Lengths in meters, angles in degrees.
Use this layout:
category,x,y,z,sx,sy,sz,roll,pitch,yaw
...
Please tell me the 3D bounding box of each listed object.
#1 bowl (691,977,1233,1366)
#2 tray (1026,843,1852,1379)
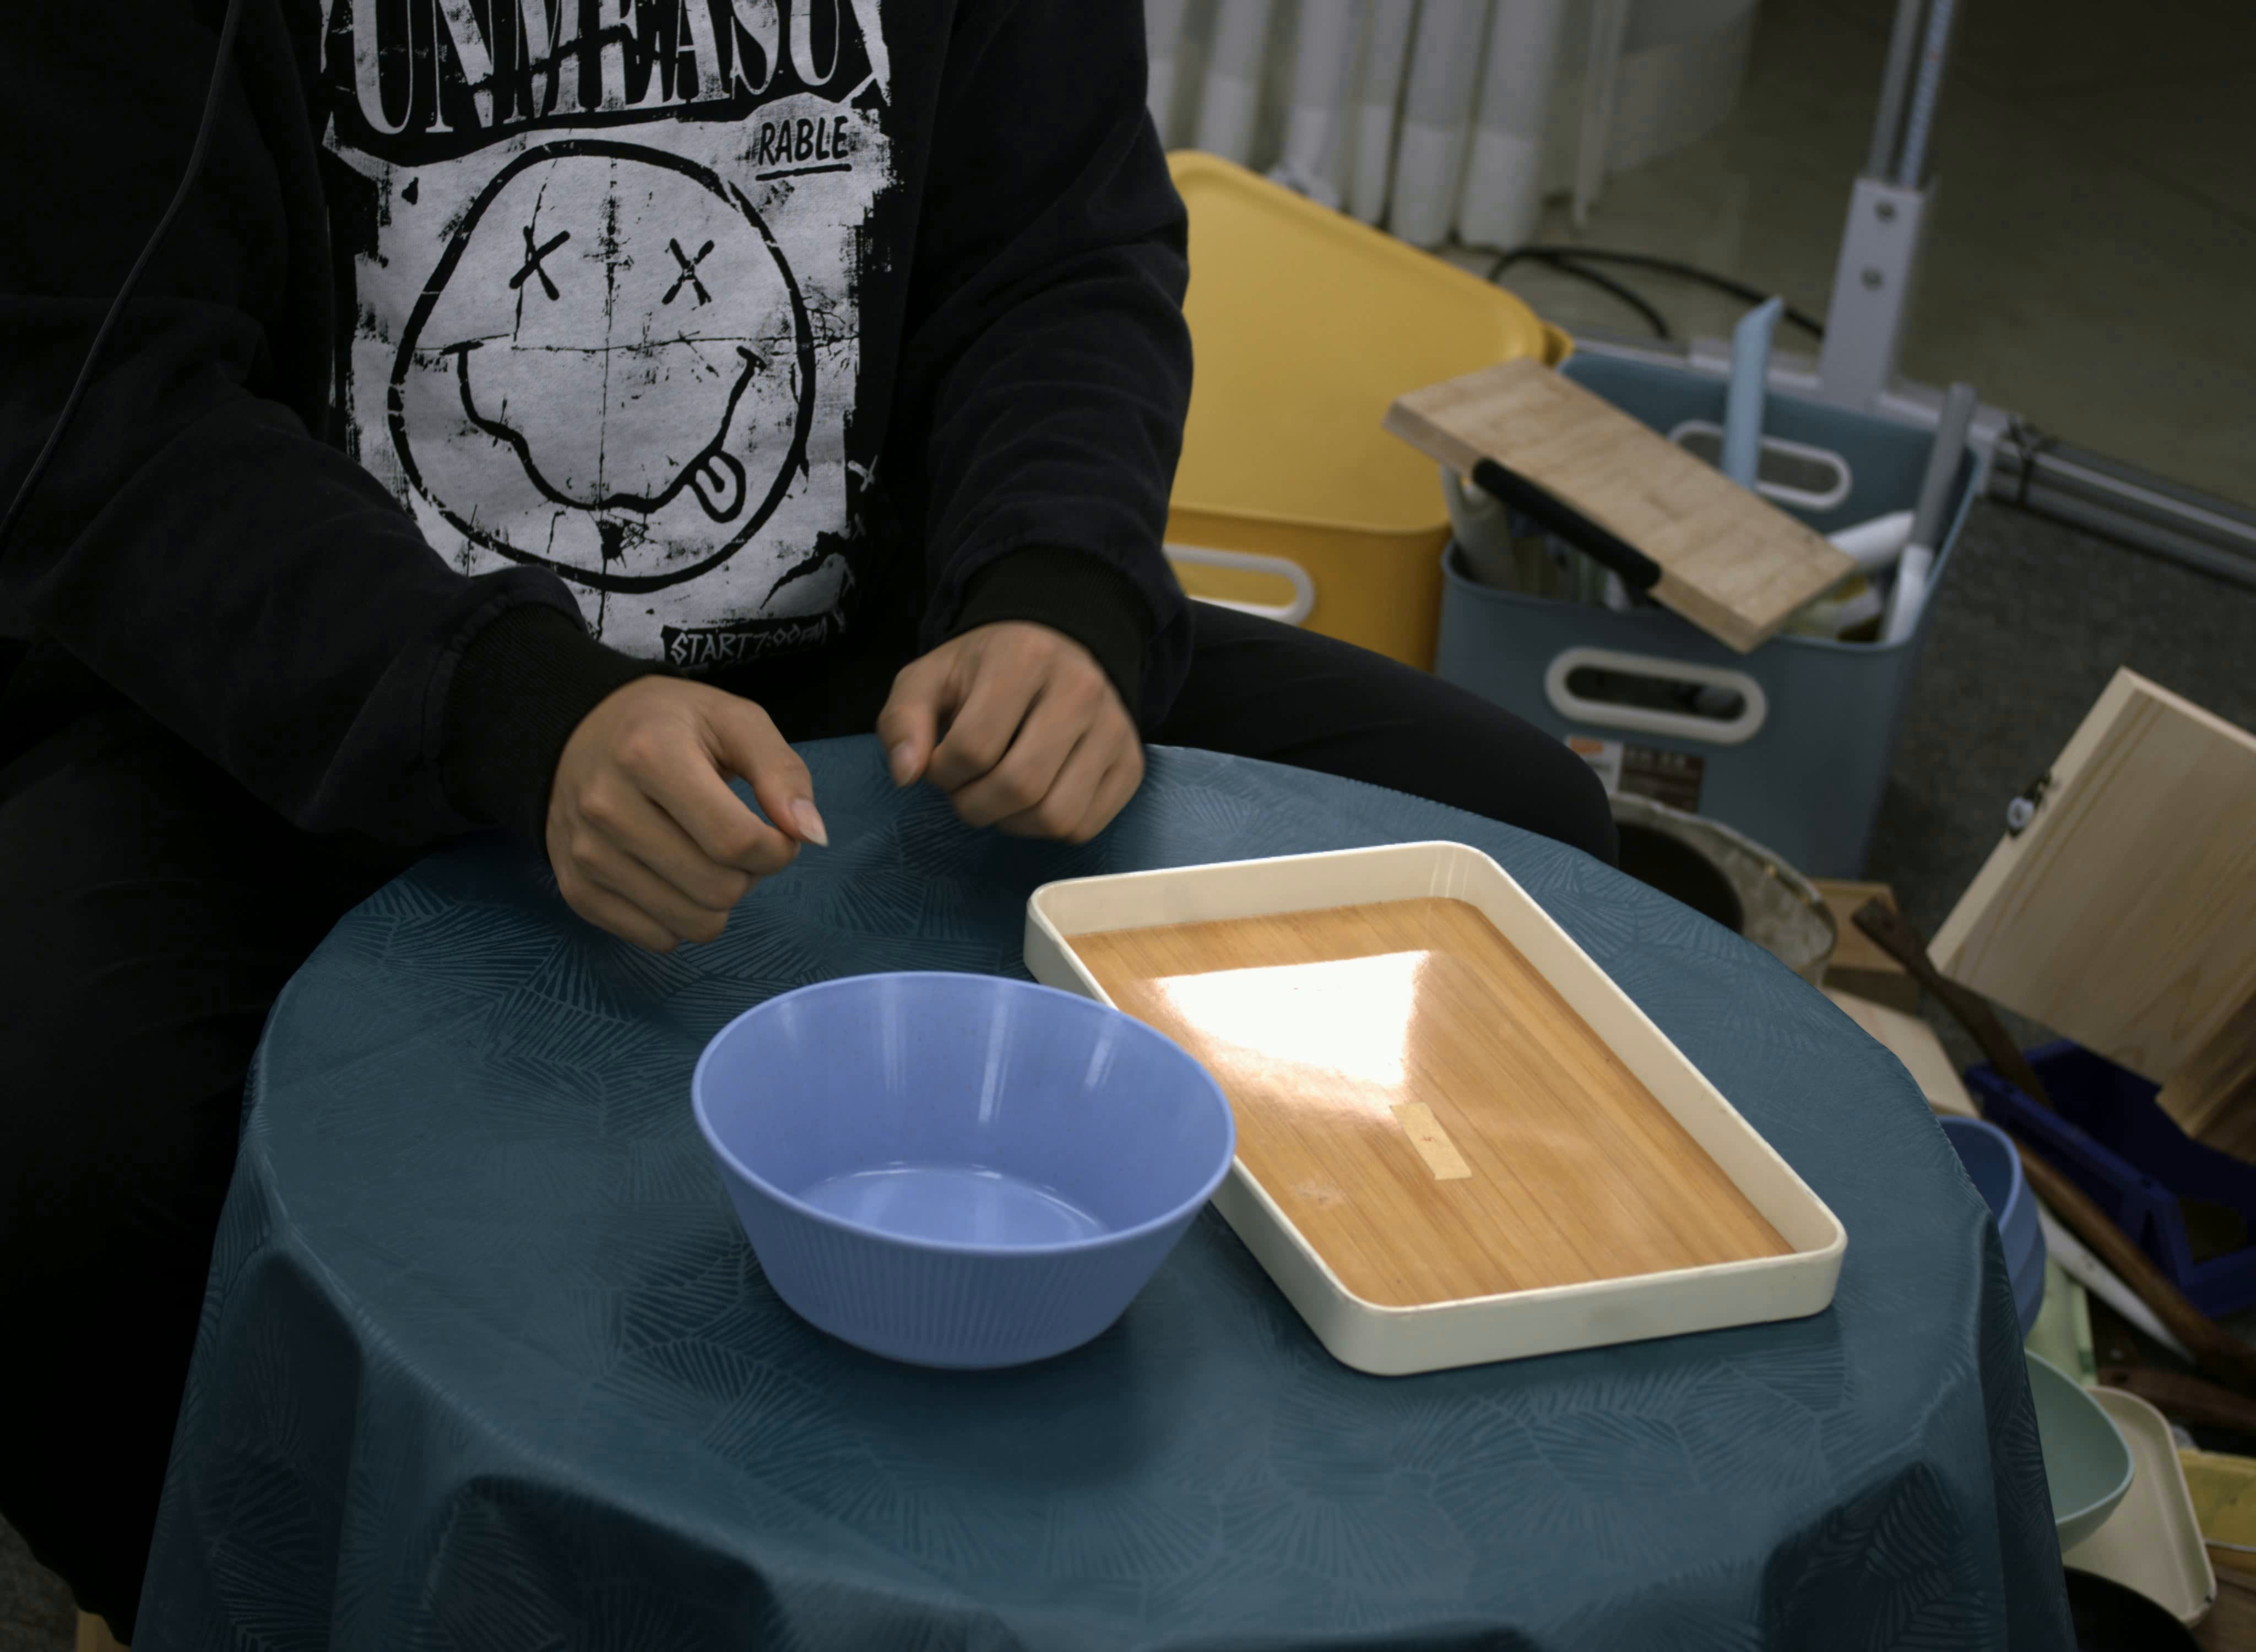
category,x,y,z,sx,sy,sz,roll,pitch,yaw
bowl,-0.057,0.118,1.720,0.175,0.070,0.177,6,26,-3
tray,0.102,0.093,1.856,0.190,0.027,0.303,-6,29,-23
